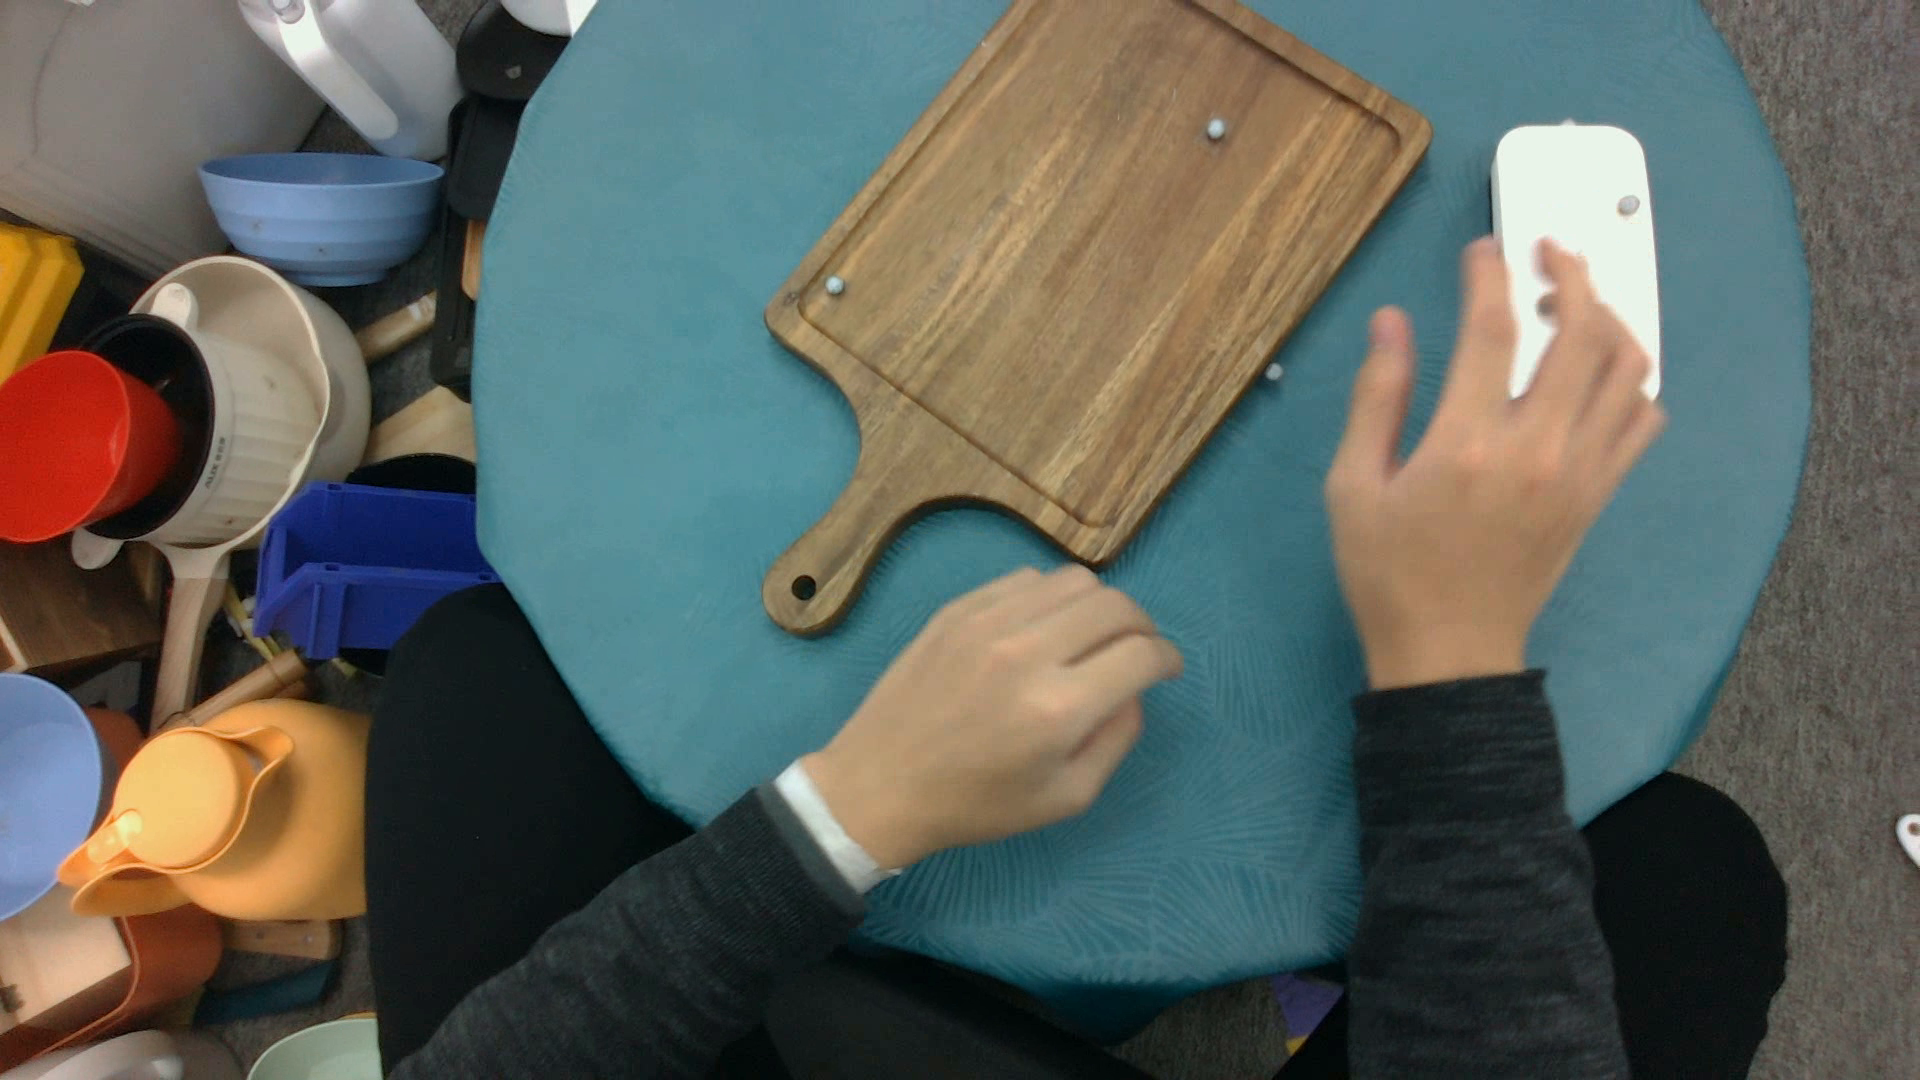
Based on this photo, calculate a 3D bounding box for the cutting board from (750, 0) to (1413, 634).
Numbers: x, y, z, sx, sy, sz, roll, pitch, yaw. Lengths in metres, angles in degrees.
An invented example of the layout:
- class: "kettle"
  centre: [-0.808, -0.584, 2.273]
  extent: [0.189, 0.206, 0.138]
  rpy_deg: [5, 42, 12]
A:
- class: "cutting board"
  centre: [0.025, -0.104, 0.616]
  extent: [0.201, 0.023, 0.352]
  rpy_deg: [36, 82, 12]

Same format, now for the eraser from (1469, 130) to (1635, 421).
- class: "eraser"
  centre: [0.253, -0.116, 0.596]
  extent: [0.063, 0.034, 0.131]
  rpy_deg: [3, 76, 4]
